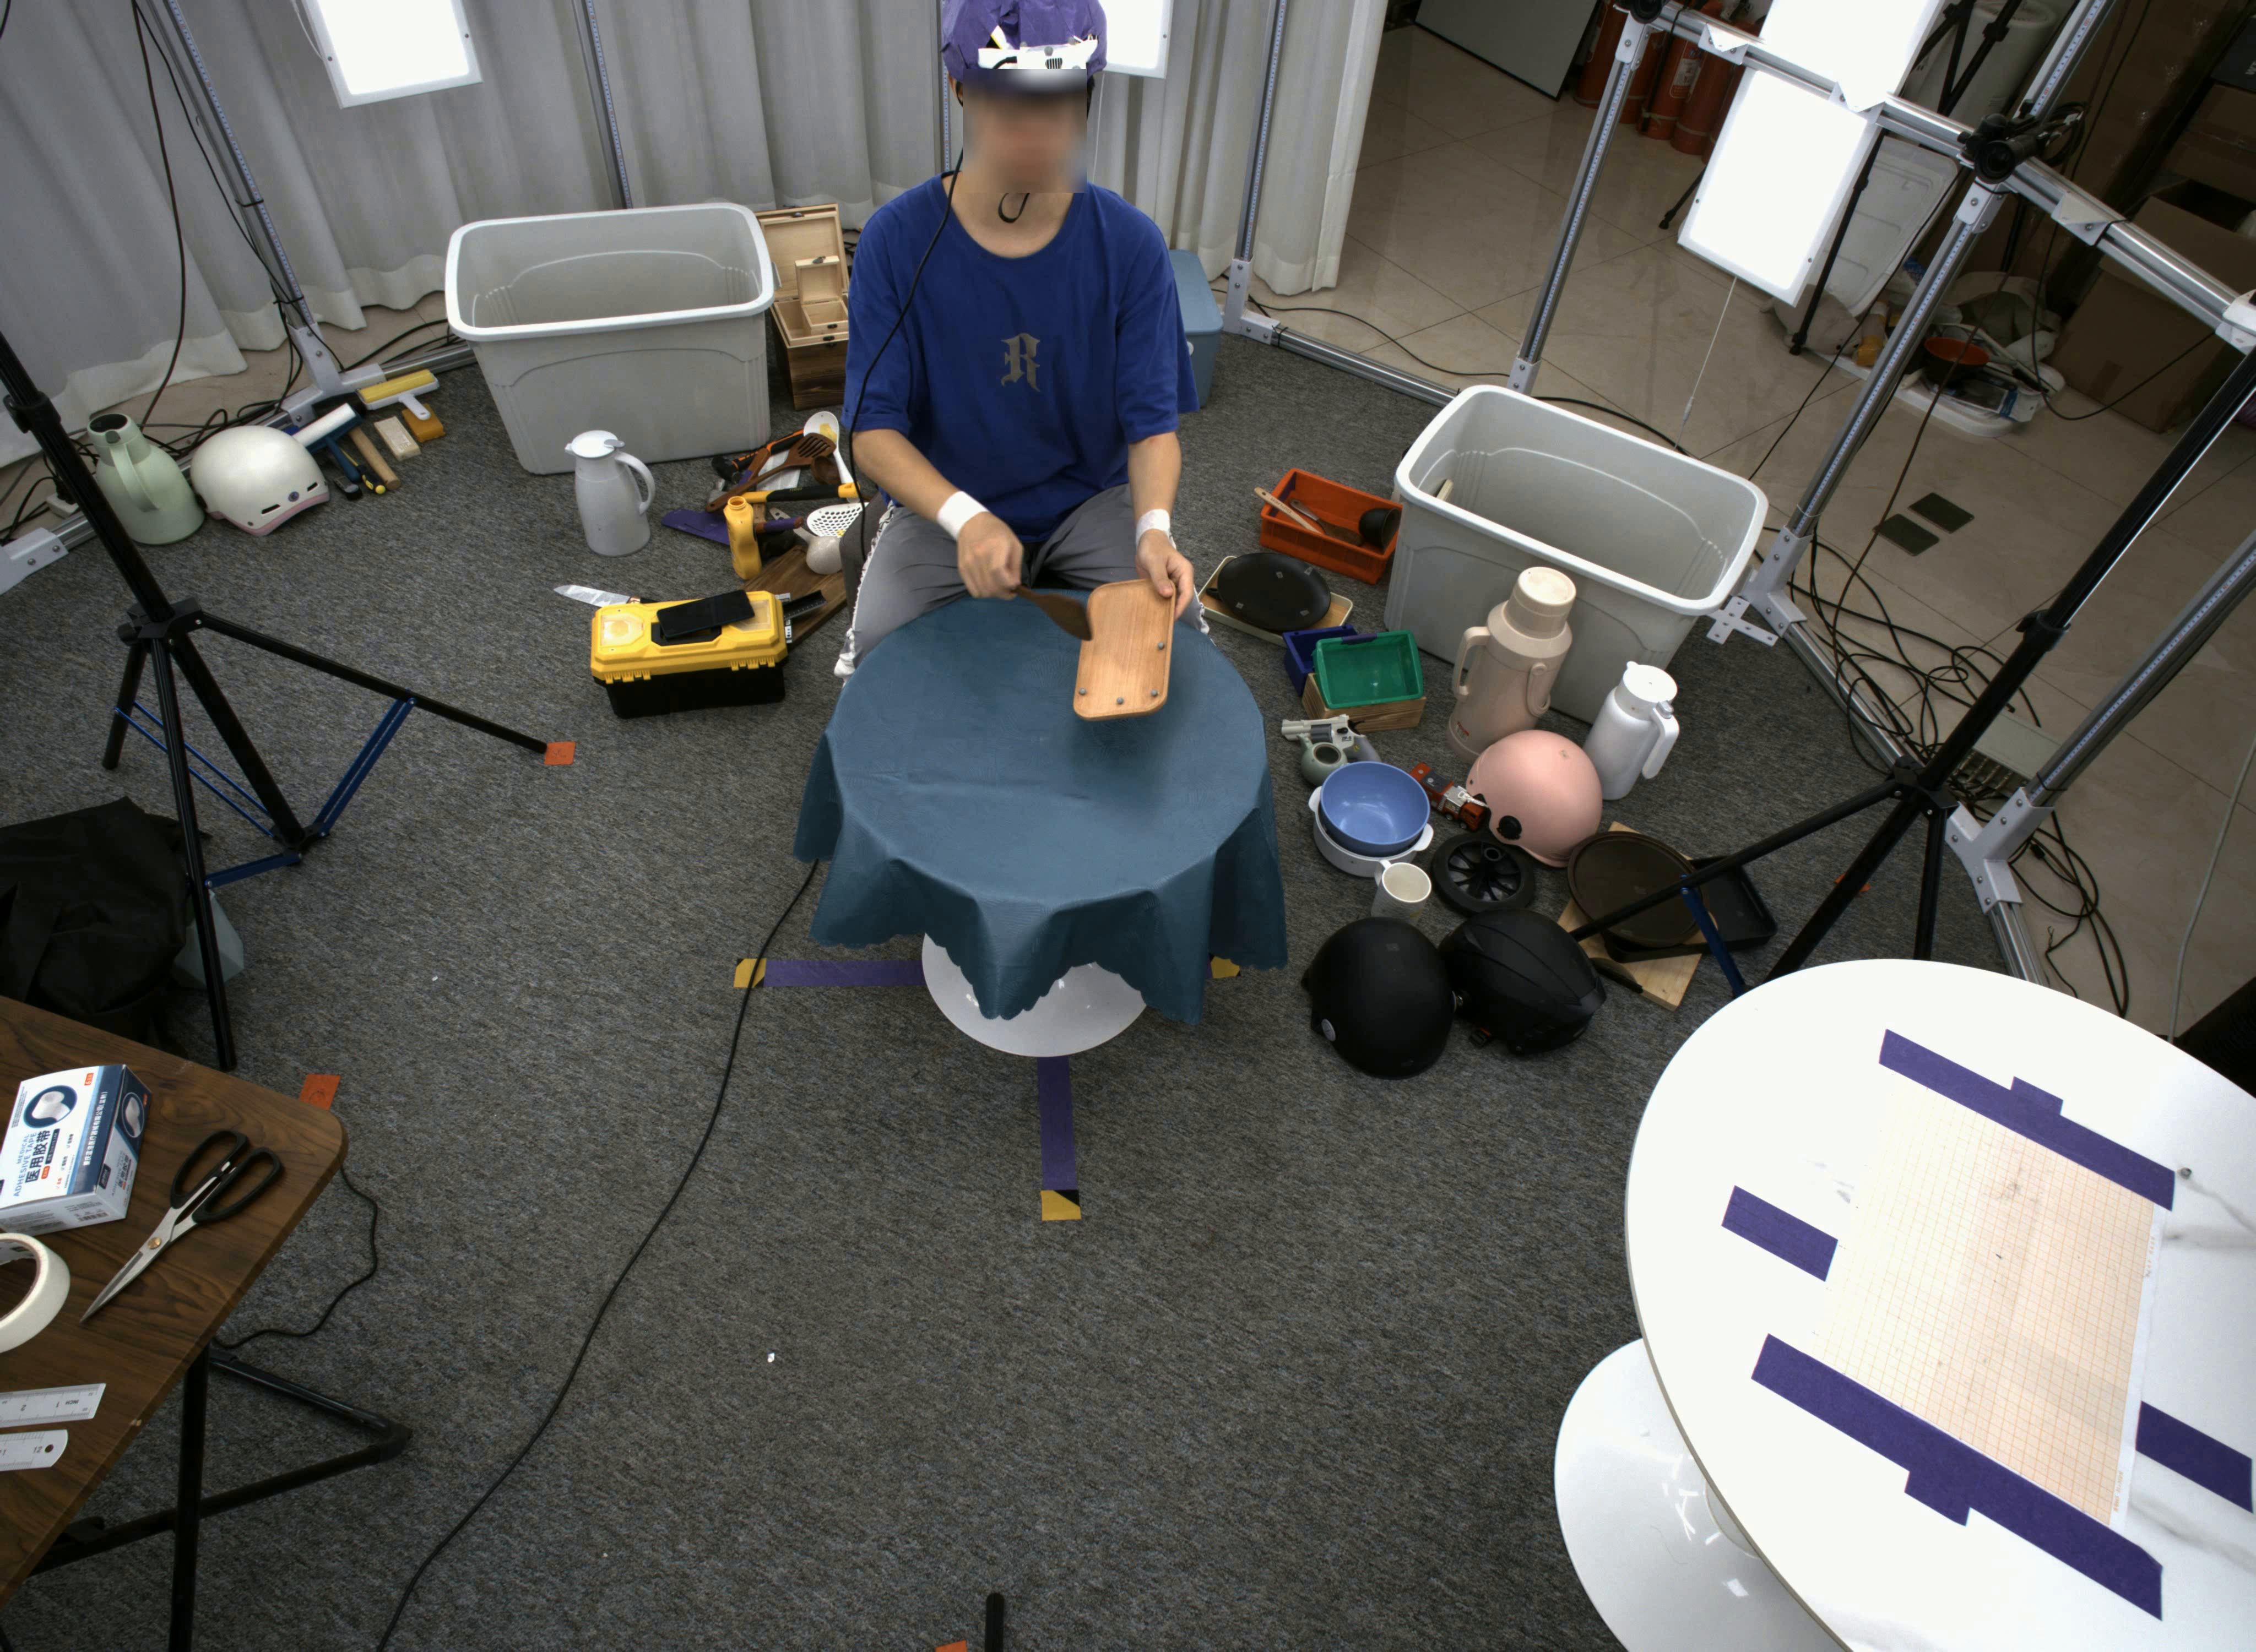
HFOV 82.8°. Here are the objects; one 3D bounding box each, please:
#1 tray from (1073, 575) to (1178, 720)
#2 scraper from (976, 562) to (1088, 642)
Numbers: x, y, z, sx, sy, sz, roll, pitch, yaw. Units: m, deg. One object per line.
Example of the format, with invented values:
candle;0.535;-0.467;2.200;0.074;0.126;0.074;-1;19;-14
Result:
tray;-0.001;-0.245;1.747;0.130;0.022;0.256;-3;52;14
scraper;-0.135;-0.310;1.743;0.215;0.074;0.011;34;73;33
